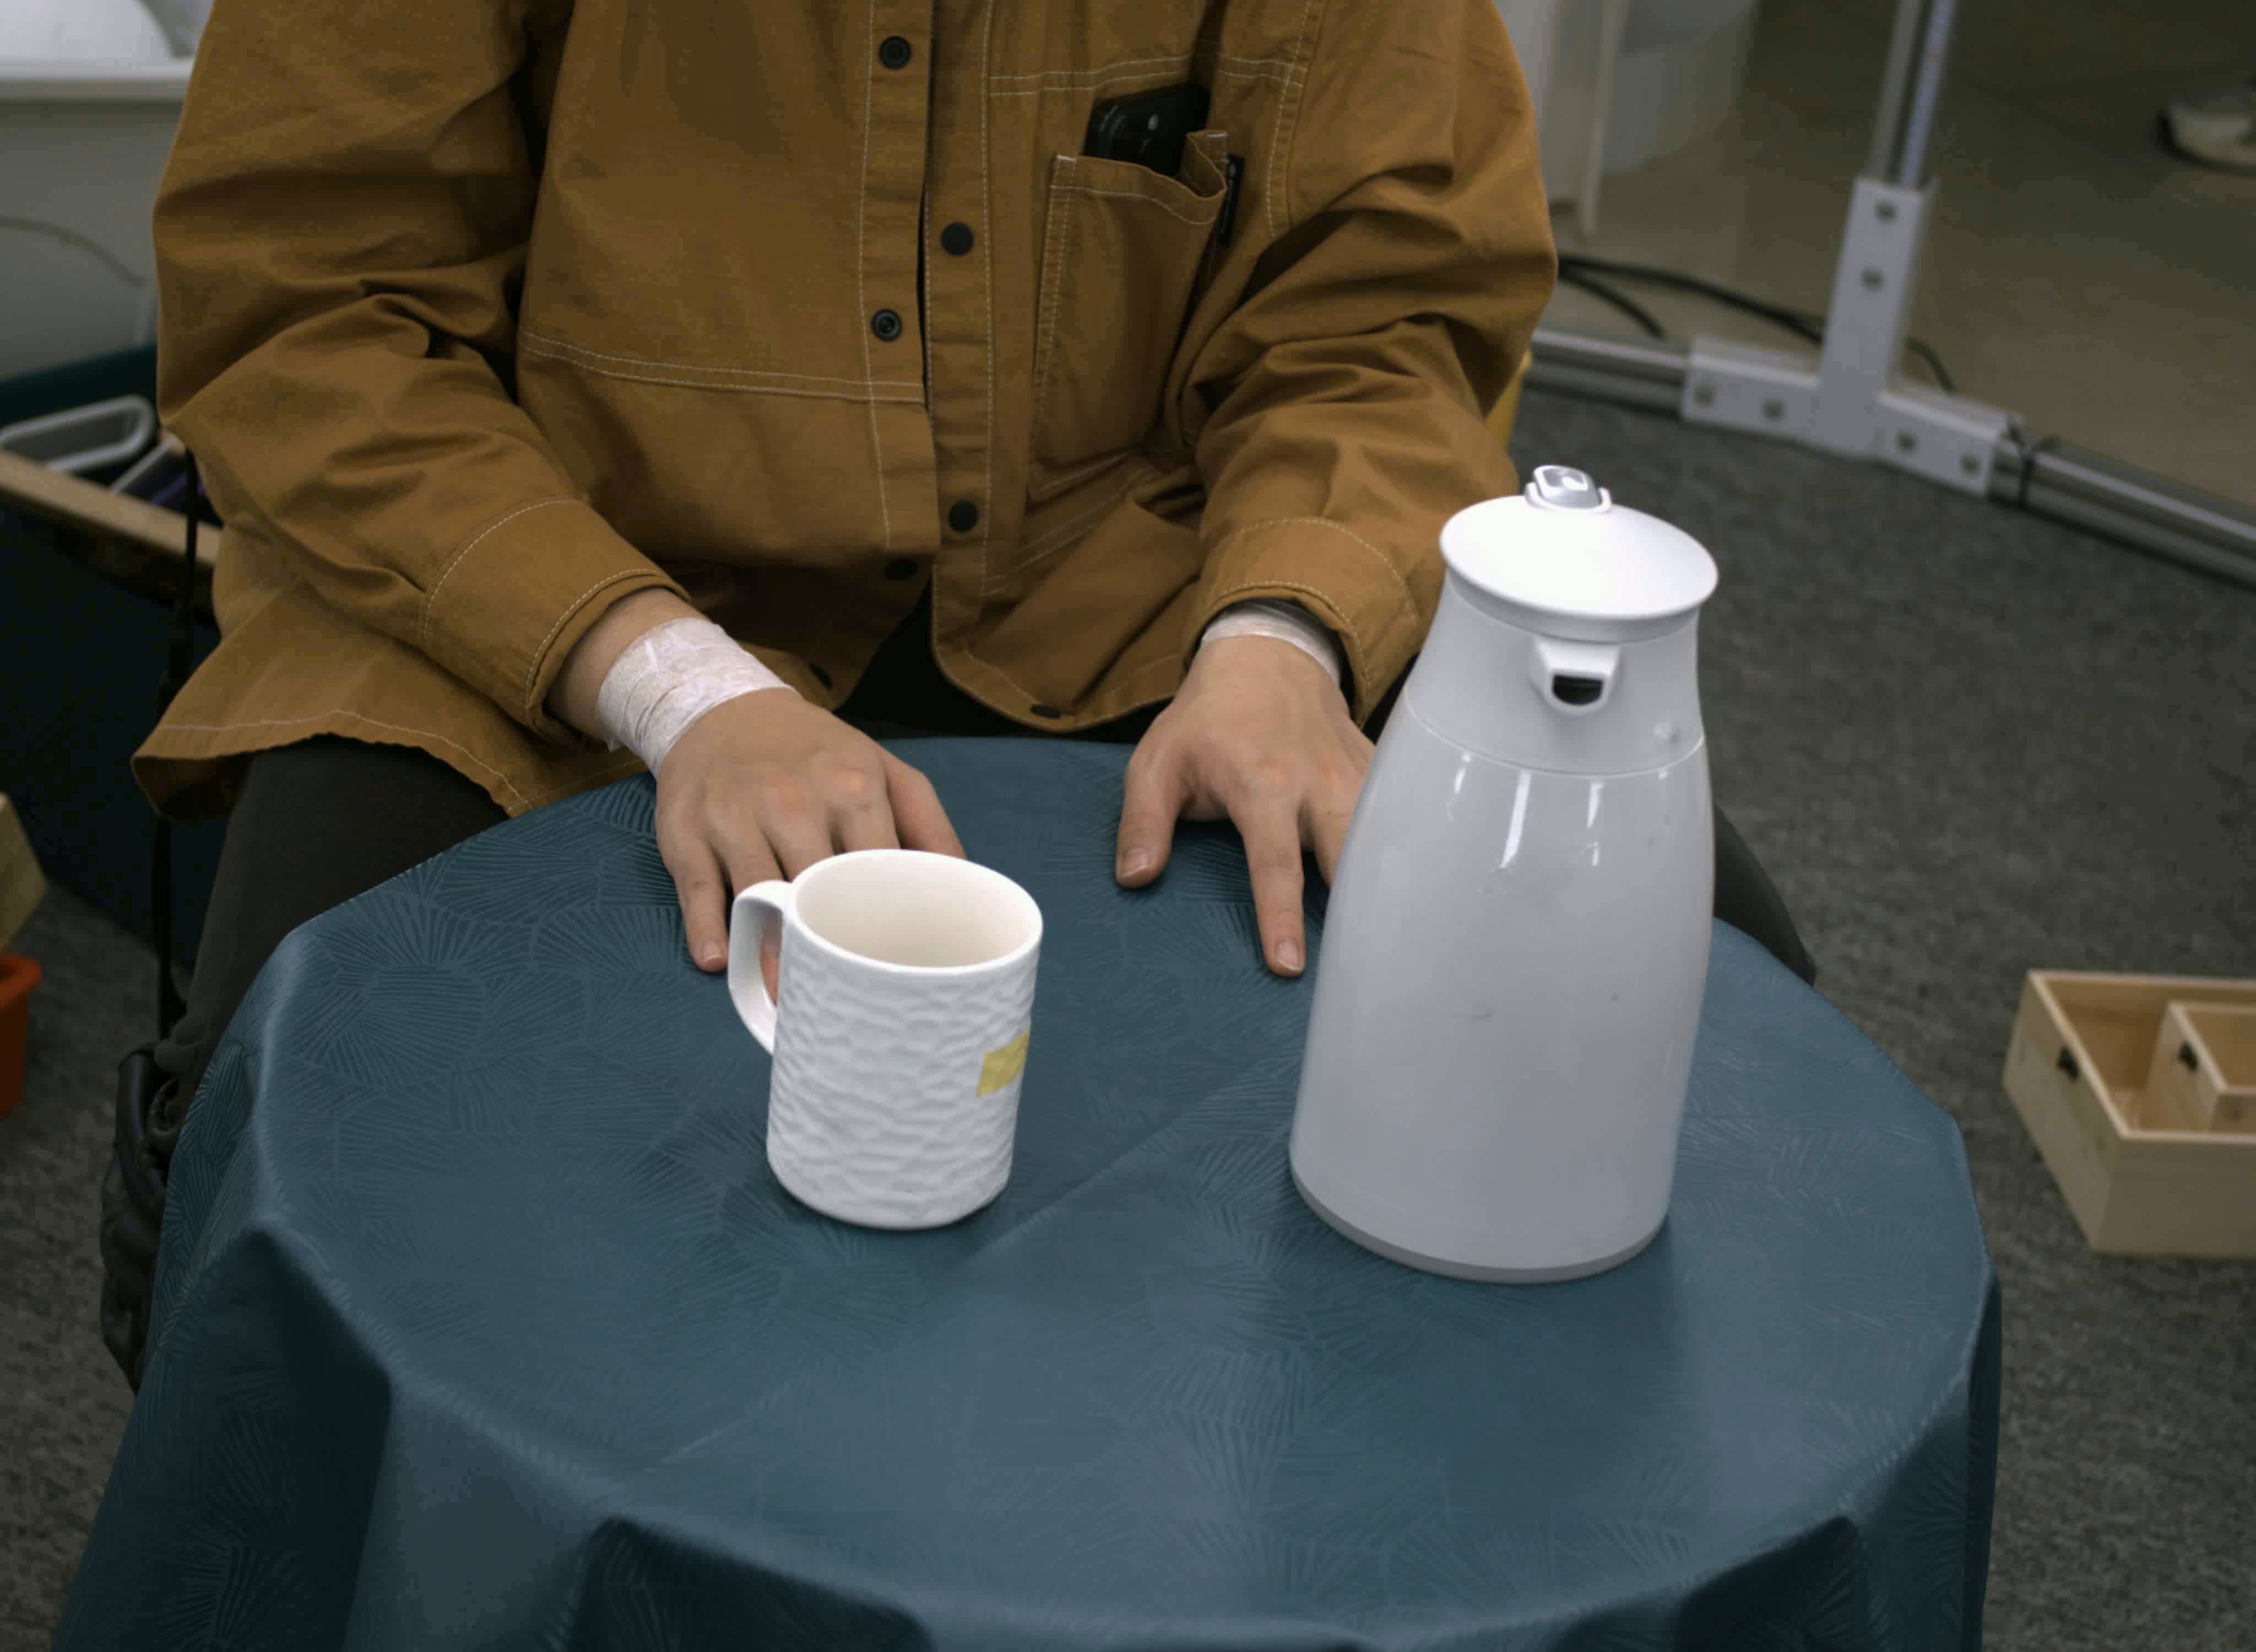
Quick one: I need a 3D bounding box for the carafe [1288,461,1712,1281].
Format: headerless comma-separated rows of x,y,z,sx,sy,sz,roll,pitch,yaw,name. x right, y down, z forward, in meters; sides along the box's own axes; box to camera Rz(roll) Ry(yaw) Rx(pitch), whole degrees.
0.131,0.004,1.796,0.132,0.248,0.168,5,26,-2,carafe

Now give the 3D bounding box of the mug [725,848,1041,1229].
-0.089,0.066,1.786,0.119,0.101,0.084,24,30,32,mug
